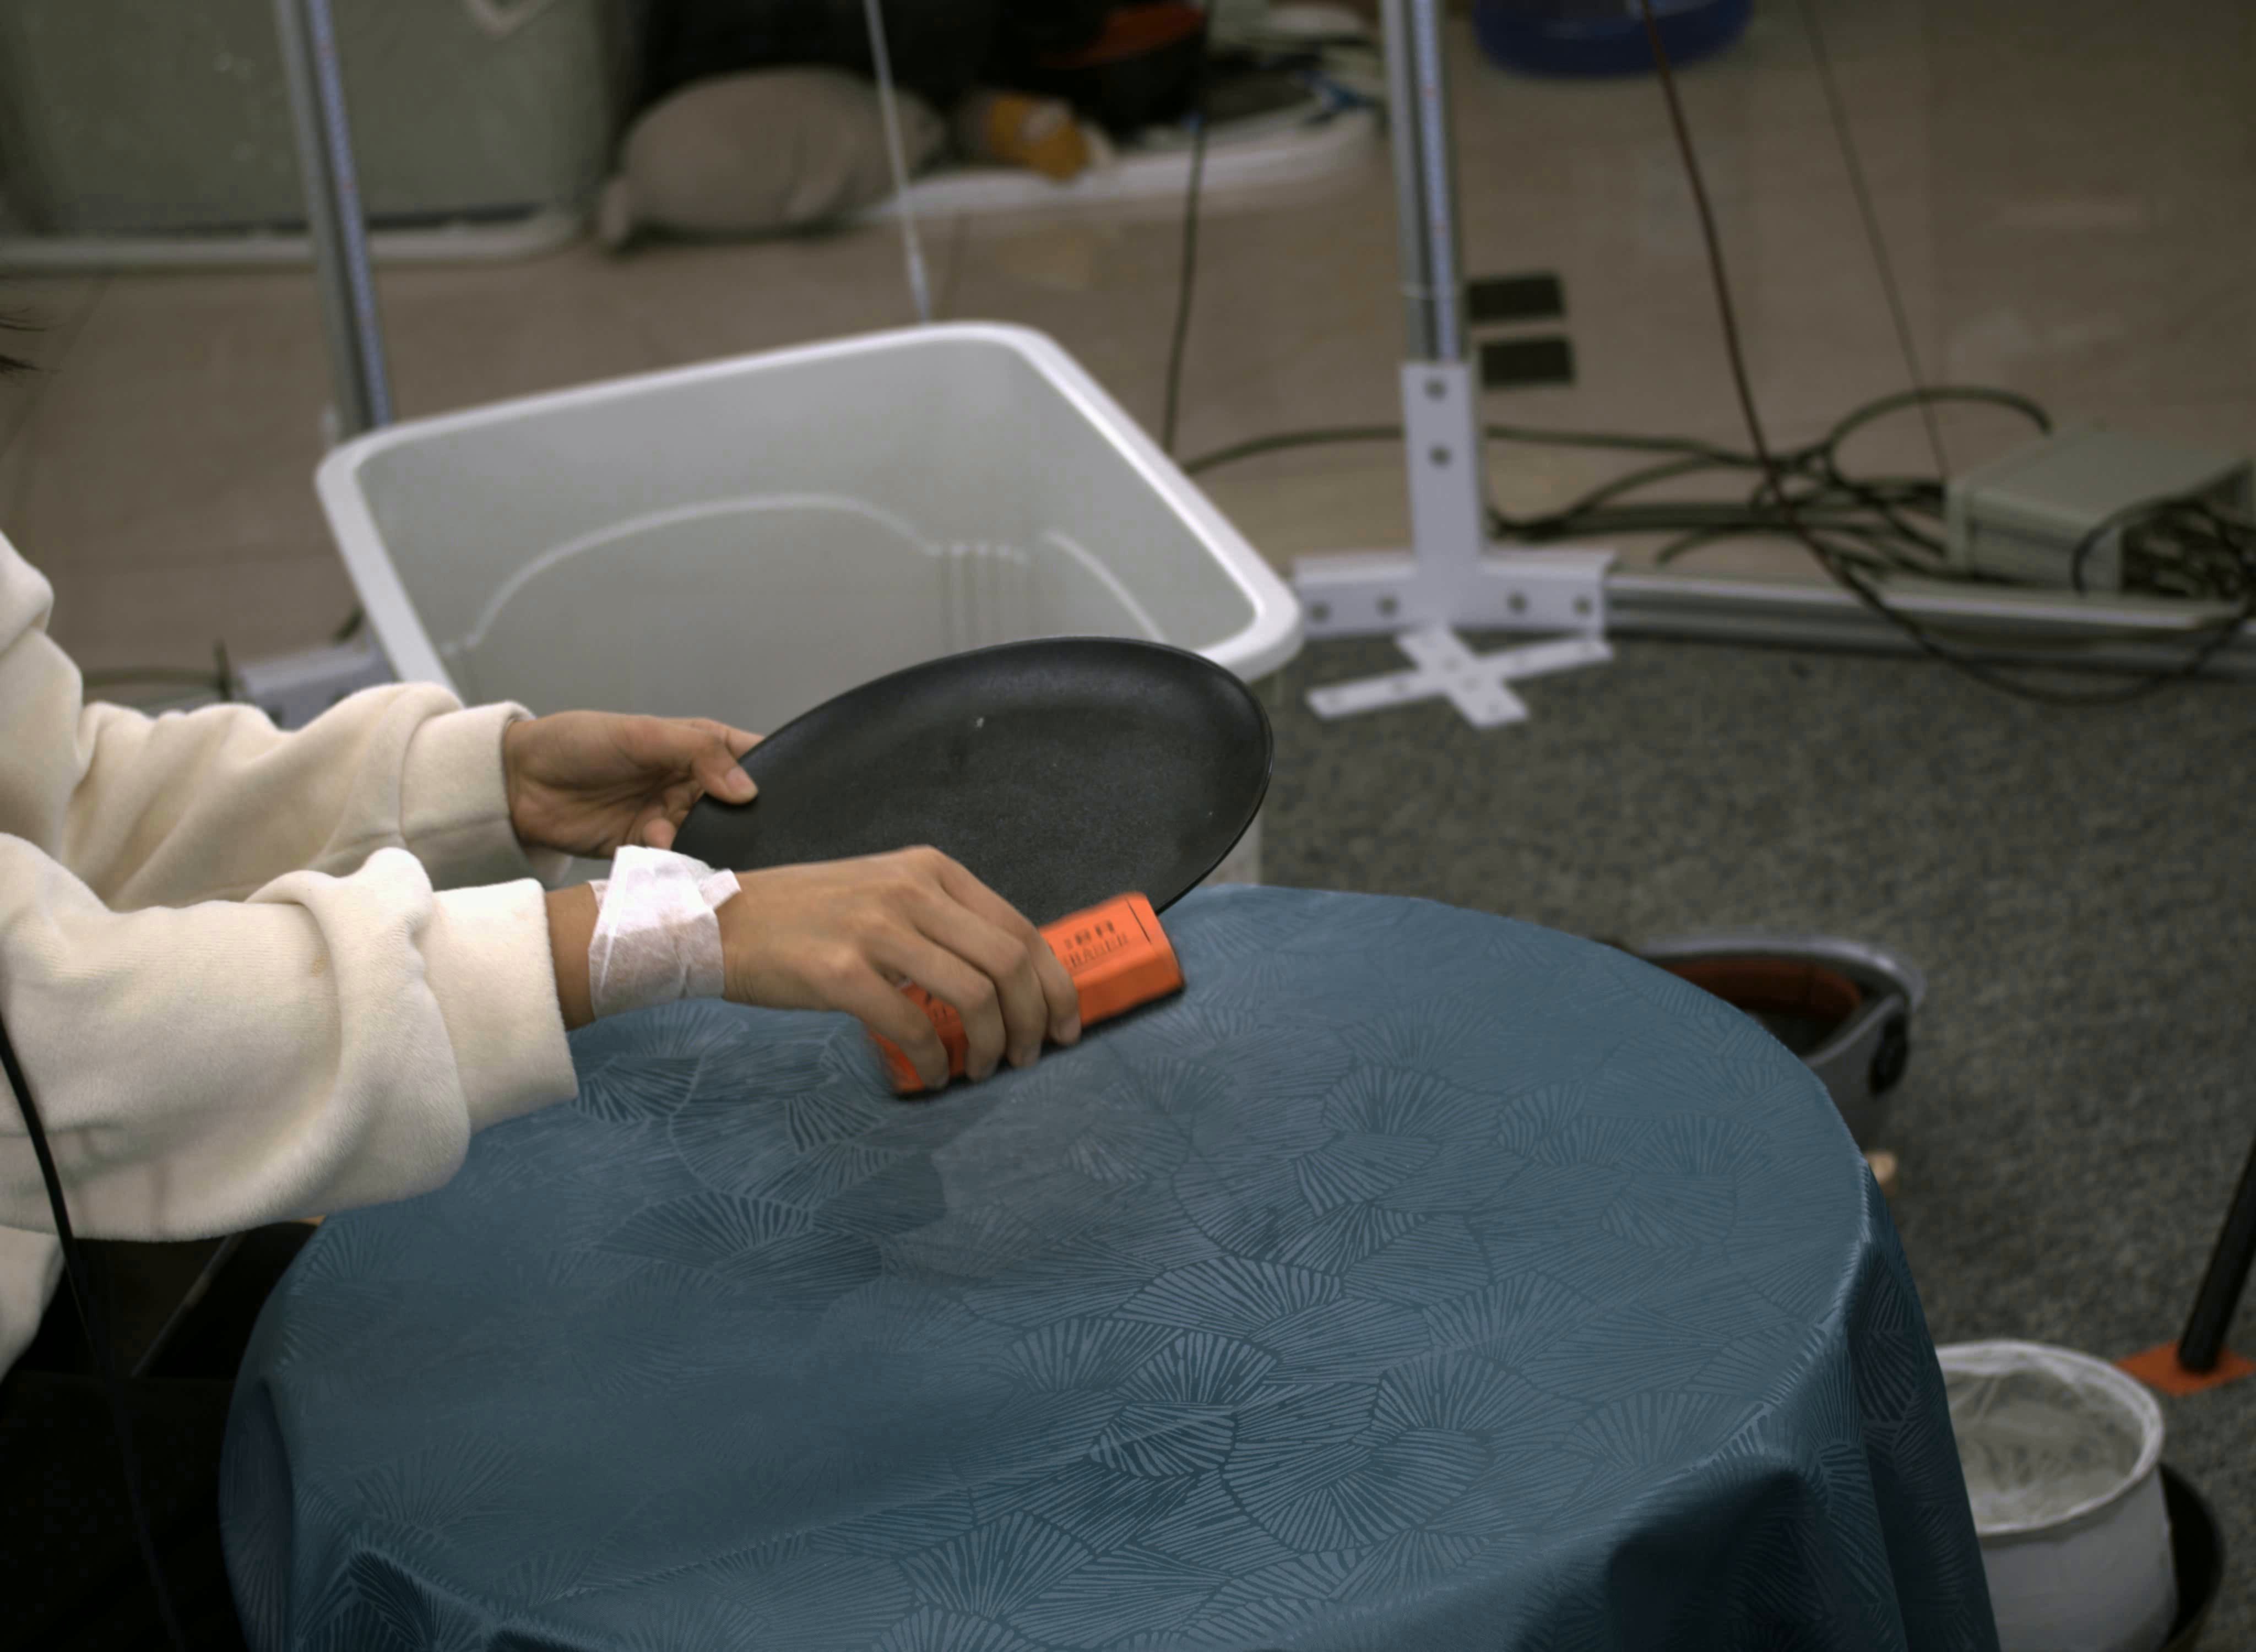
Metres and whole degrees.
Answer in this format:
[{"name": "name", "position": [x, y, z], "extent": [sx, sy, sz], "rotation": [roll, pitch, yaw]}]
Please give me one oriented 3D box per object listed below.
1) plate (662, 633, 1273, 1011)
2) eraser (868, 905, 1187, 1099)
[{"name": "plate", "position": [-0.060, 0.003, 2.173], "extent": [0.244, 0.024, 0.240], "rotation": [-12, 33, 8]}, {"name": "eraser", "position": [-0.036, 0.062, 2.006], "extent": [0.108, 0.023, 0.058], "rotation": [-18, 25, -4]}]
